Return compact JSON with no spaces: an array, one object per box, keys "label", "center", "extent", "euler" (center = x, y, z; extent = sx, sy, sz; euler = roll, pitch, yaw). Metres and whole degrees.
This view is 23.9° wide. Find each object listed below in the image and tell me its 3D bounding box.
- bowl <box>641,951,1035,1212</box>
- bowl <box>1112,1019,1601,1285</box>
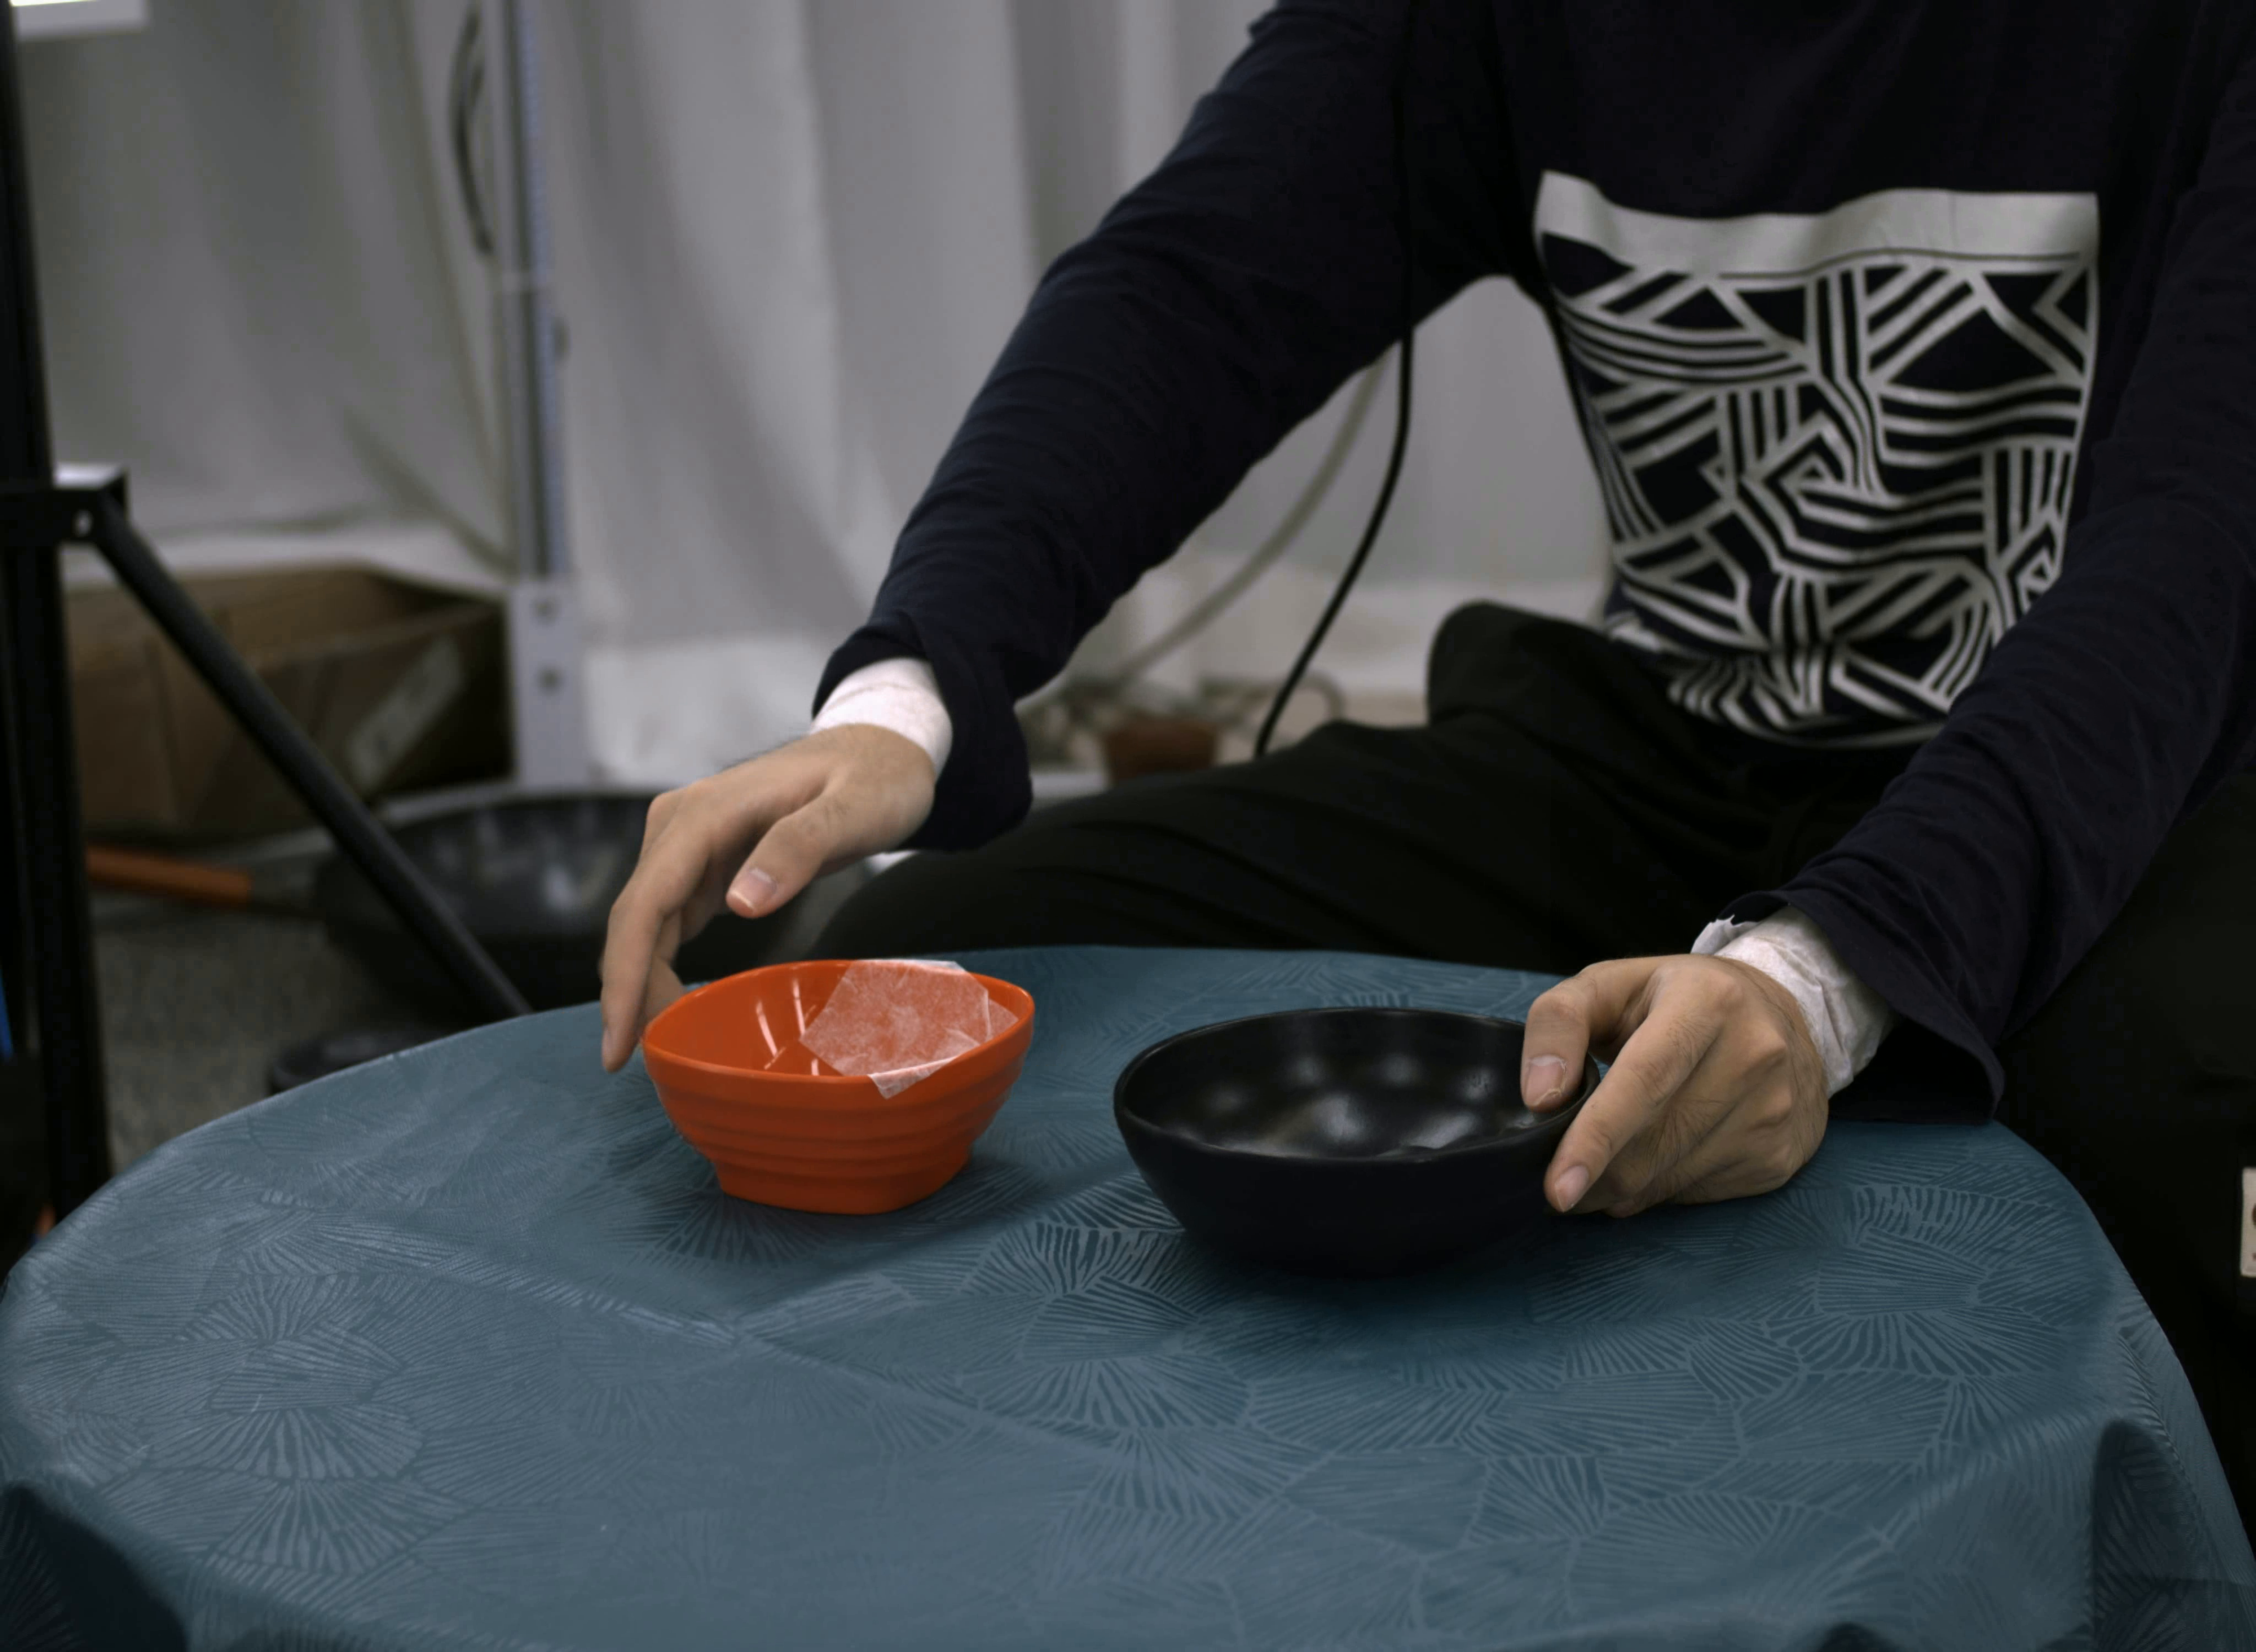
[{"label":"bowl","center":[-0.084,0.078,1.582],"extent":[0.118,0.051,0.119],"euler":[-5,17,0]},{"label":"bowl","center":[0.065,0.097,1.508],"extent":[0.139,0.050,0.140],"euler":[-1,13,-1]}]
